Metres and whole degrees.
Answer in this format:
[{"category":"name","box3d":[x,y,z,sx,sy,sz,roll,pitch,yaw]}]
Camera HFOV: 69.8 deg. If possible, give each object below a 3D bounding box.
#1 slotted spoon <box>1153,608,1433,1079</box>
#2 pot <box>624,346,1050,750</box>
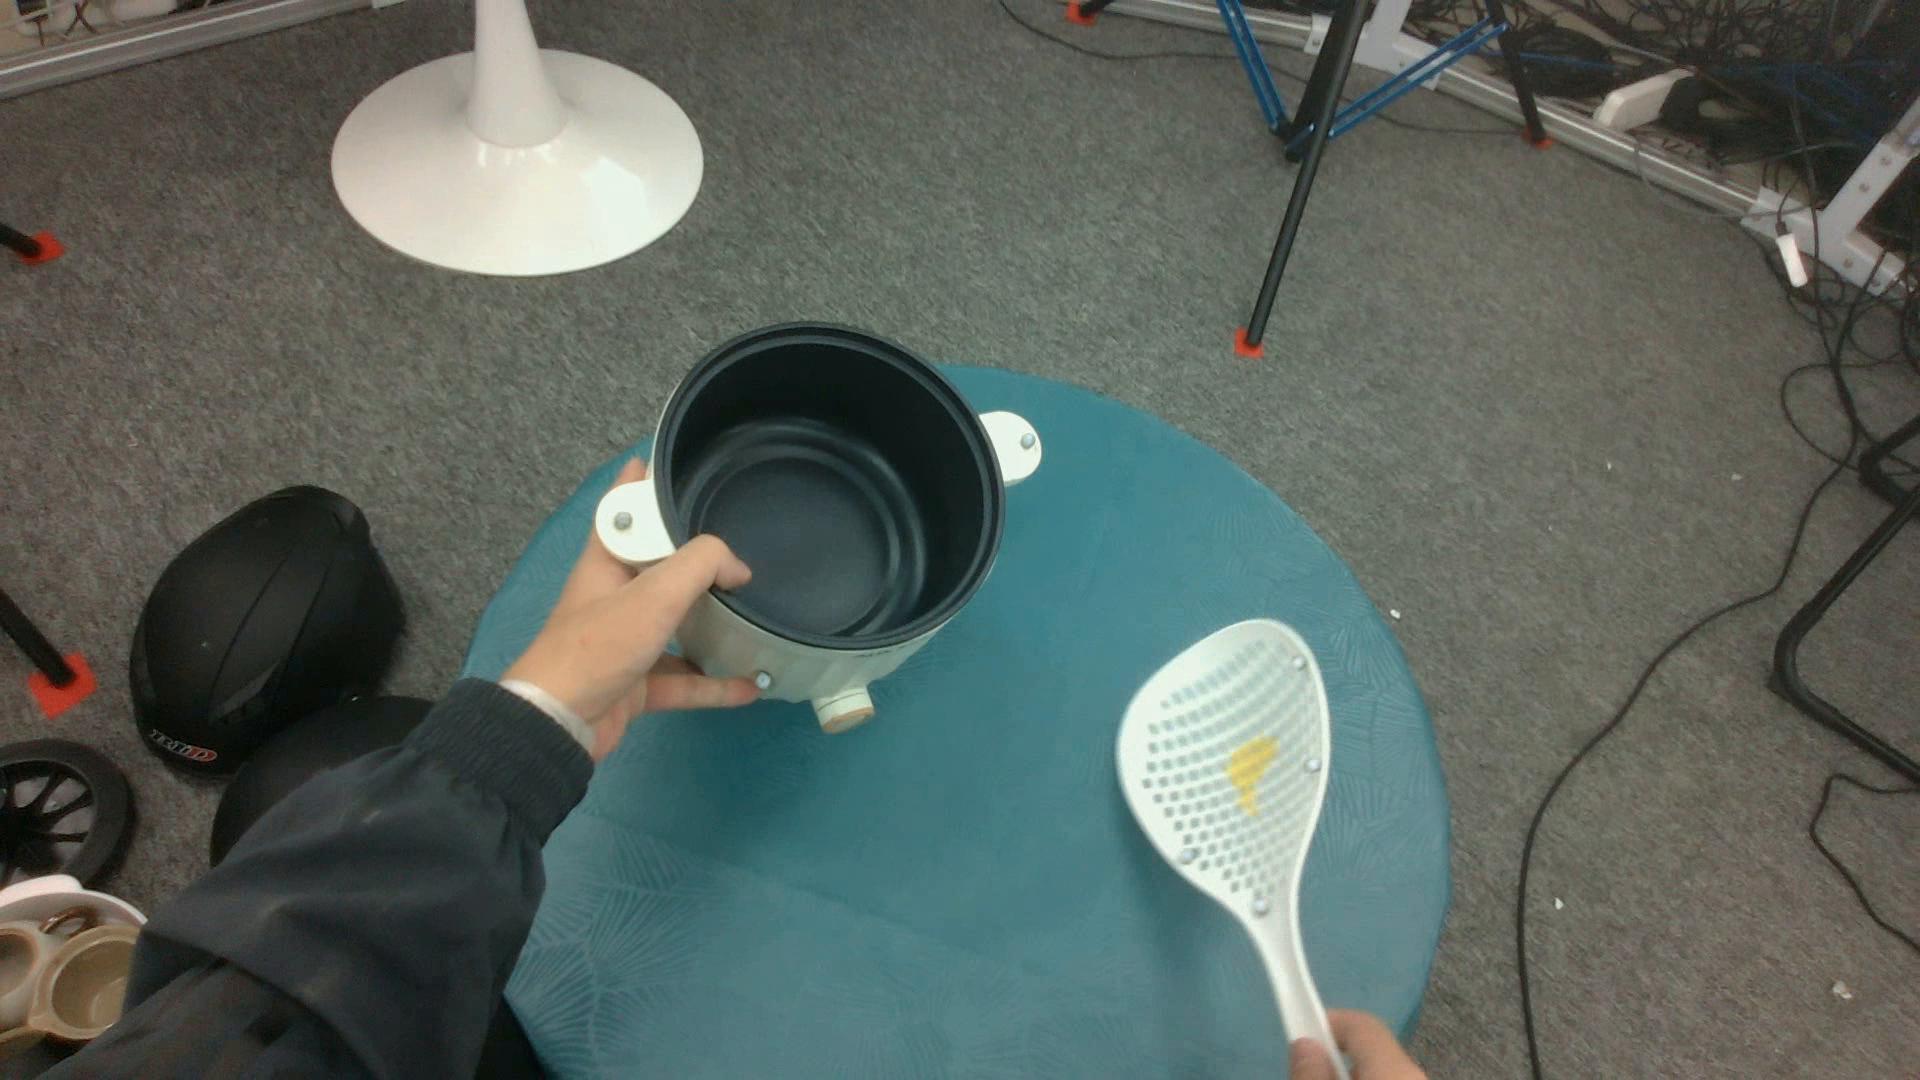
[{"category":"slotted spoon","box3d":[0.194,0.186,0.723,0.050,0.136,0.349,31,31,-31]},{"category":"pot","box3d":[-0.070,0.010,0.758,0.241,0.142,0.191,-17,69,-24]}]
